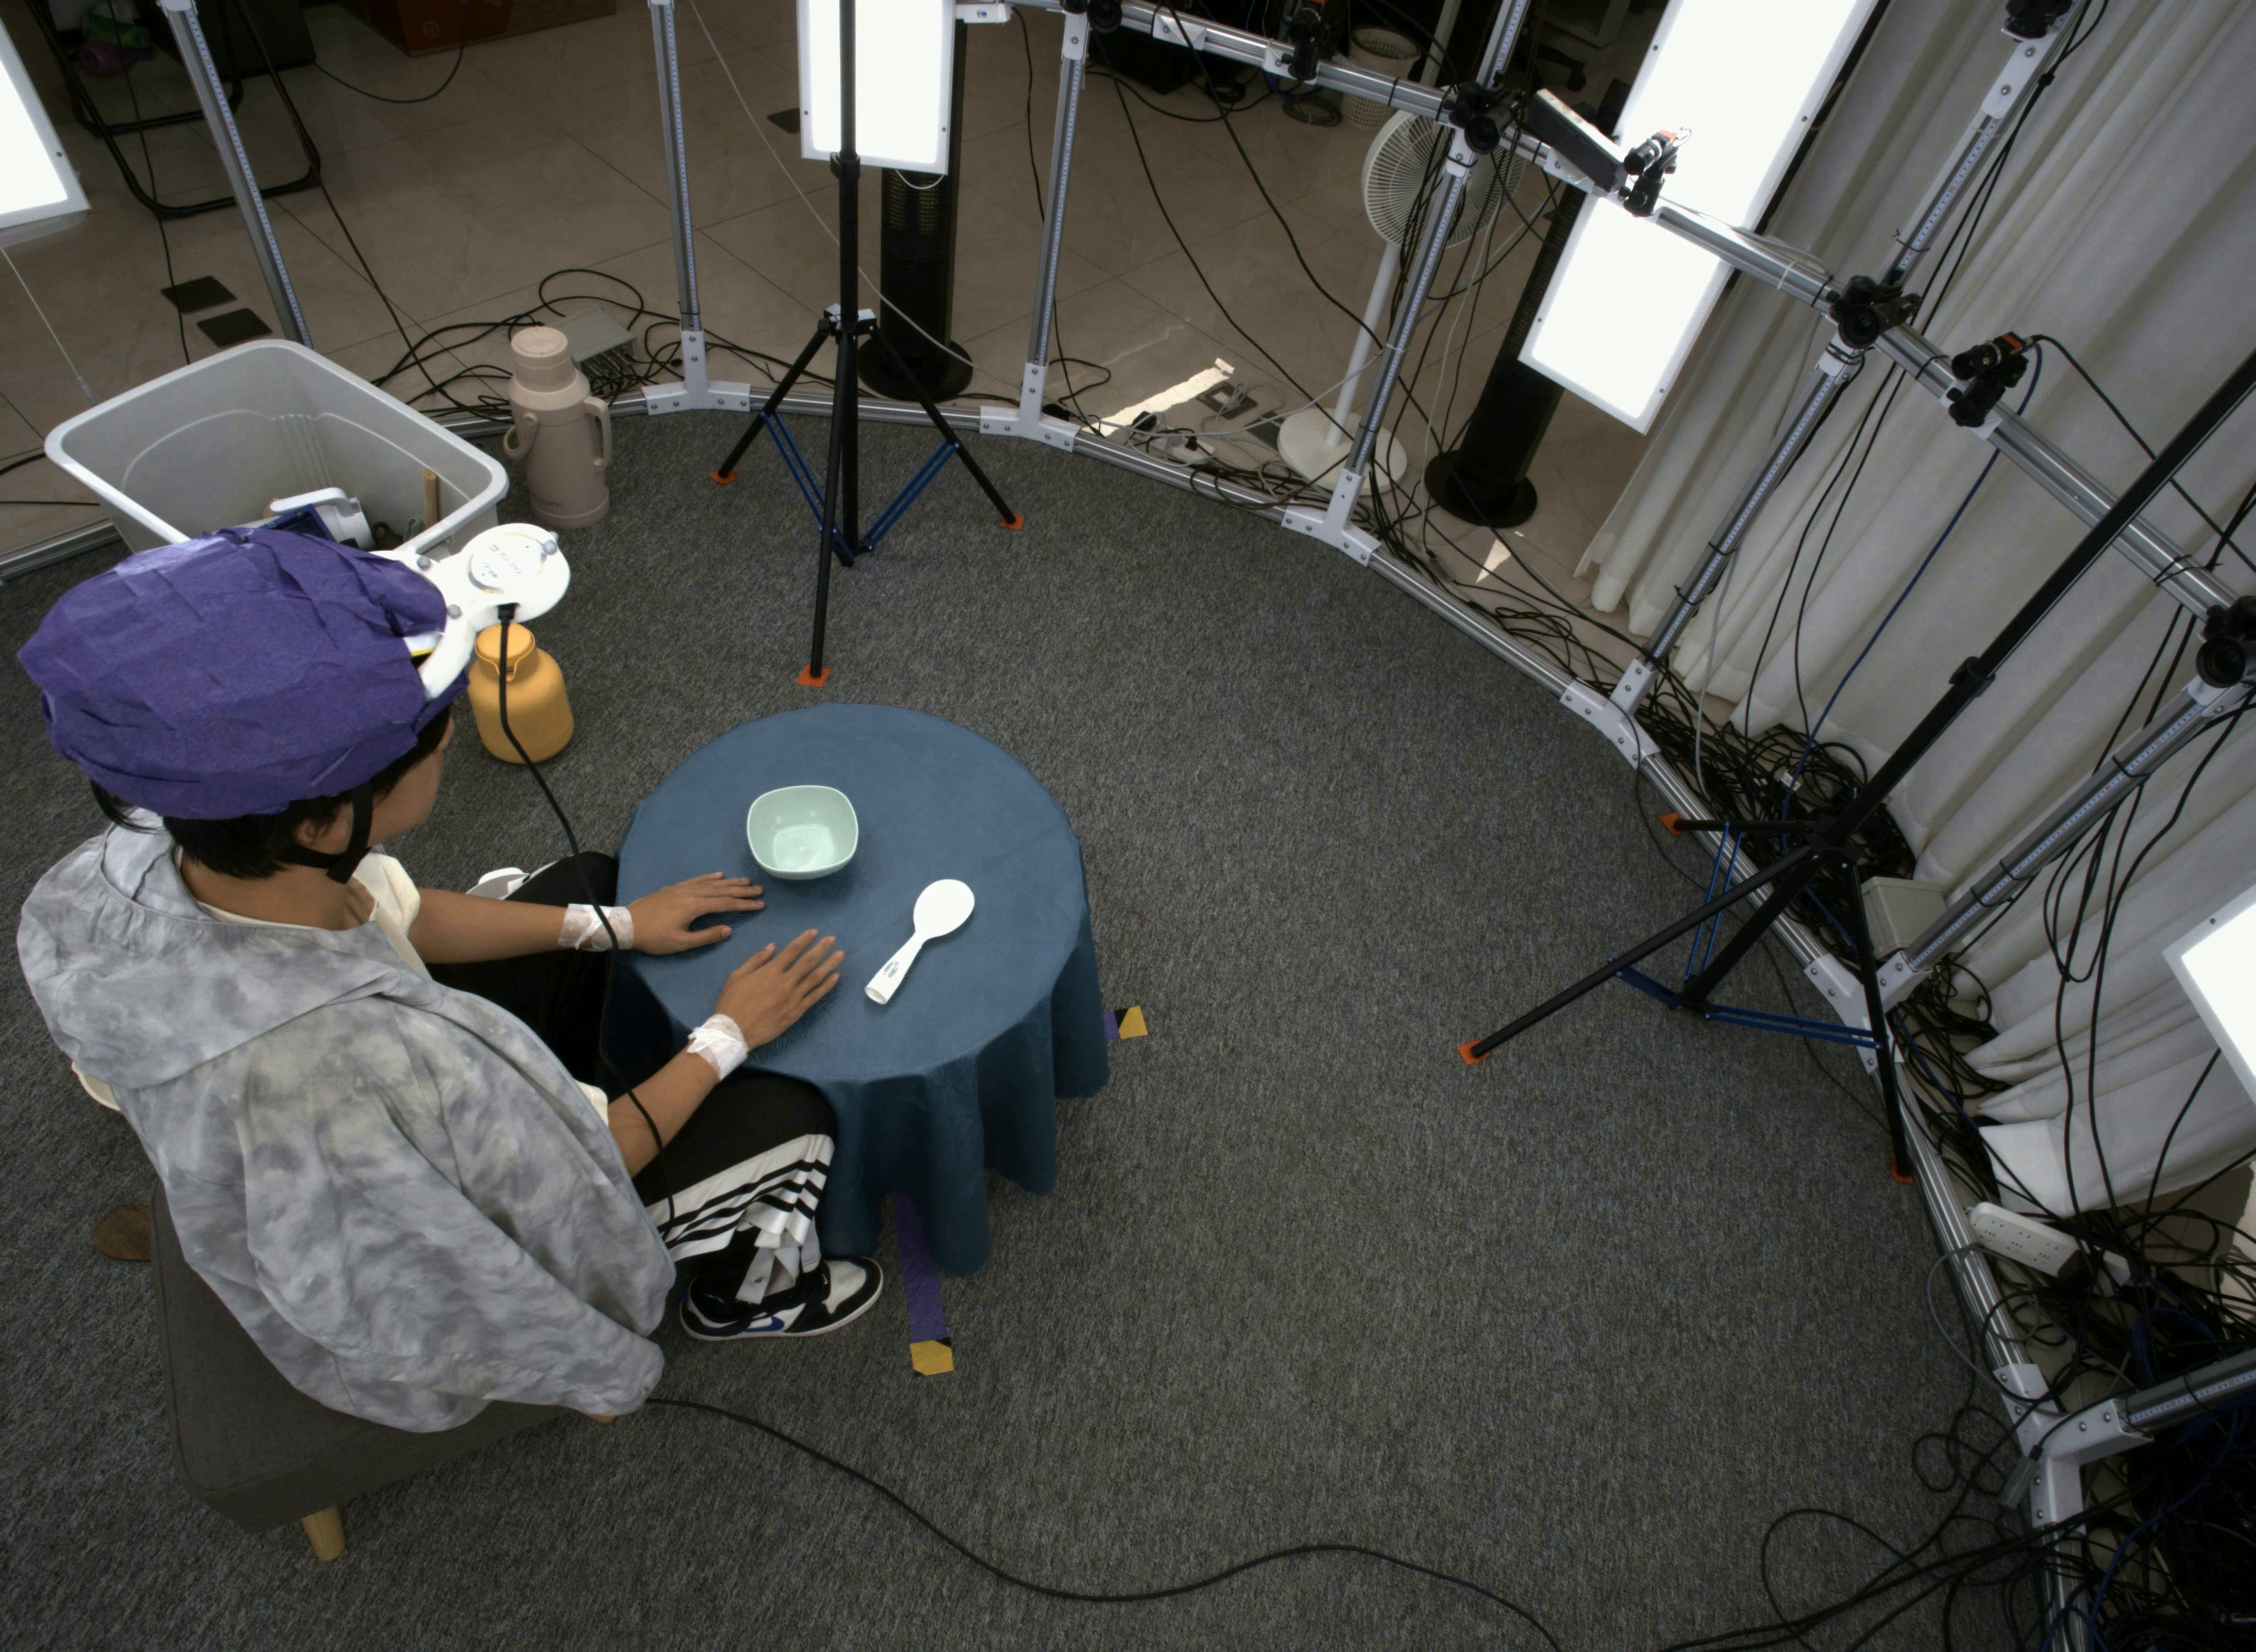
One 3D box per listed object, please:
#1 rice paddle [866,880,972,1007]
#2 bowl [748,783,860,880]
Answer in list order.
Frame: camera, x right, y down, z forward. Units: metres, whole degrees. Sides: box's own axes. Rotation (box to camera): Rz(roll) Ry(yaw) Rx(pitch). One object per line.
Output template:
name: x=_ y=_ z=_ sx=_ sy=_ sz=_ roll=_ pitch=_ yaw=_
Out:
rice paddle: x=-0.263 y=0.139 z=1.643 sx=0.068 sy=0.030 sz=0.204 roll=28 pitch=53 yaw=6
bowl: x=-0.419 y=0.016 z=1.676 sx=0.151 sy=0.059 sz=0.149 roll=9 pitch=53 yaw=-11
